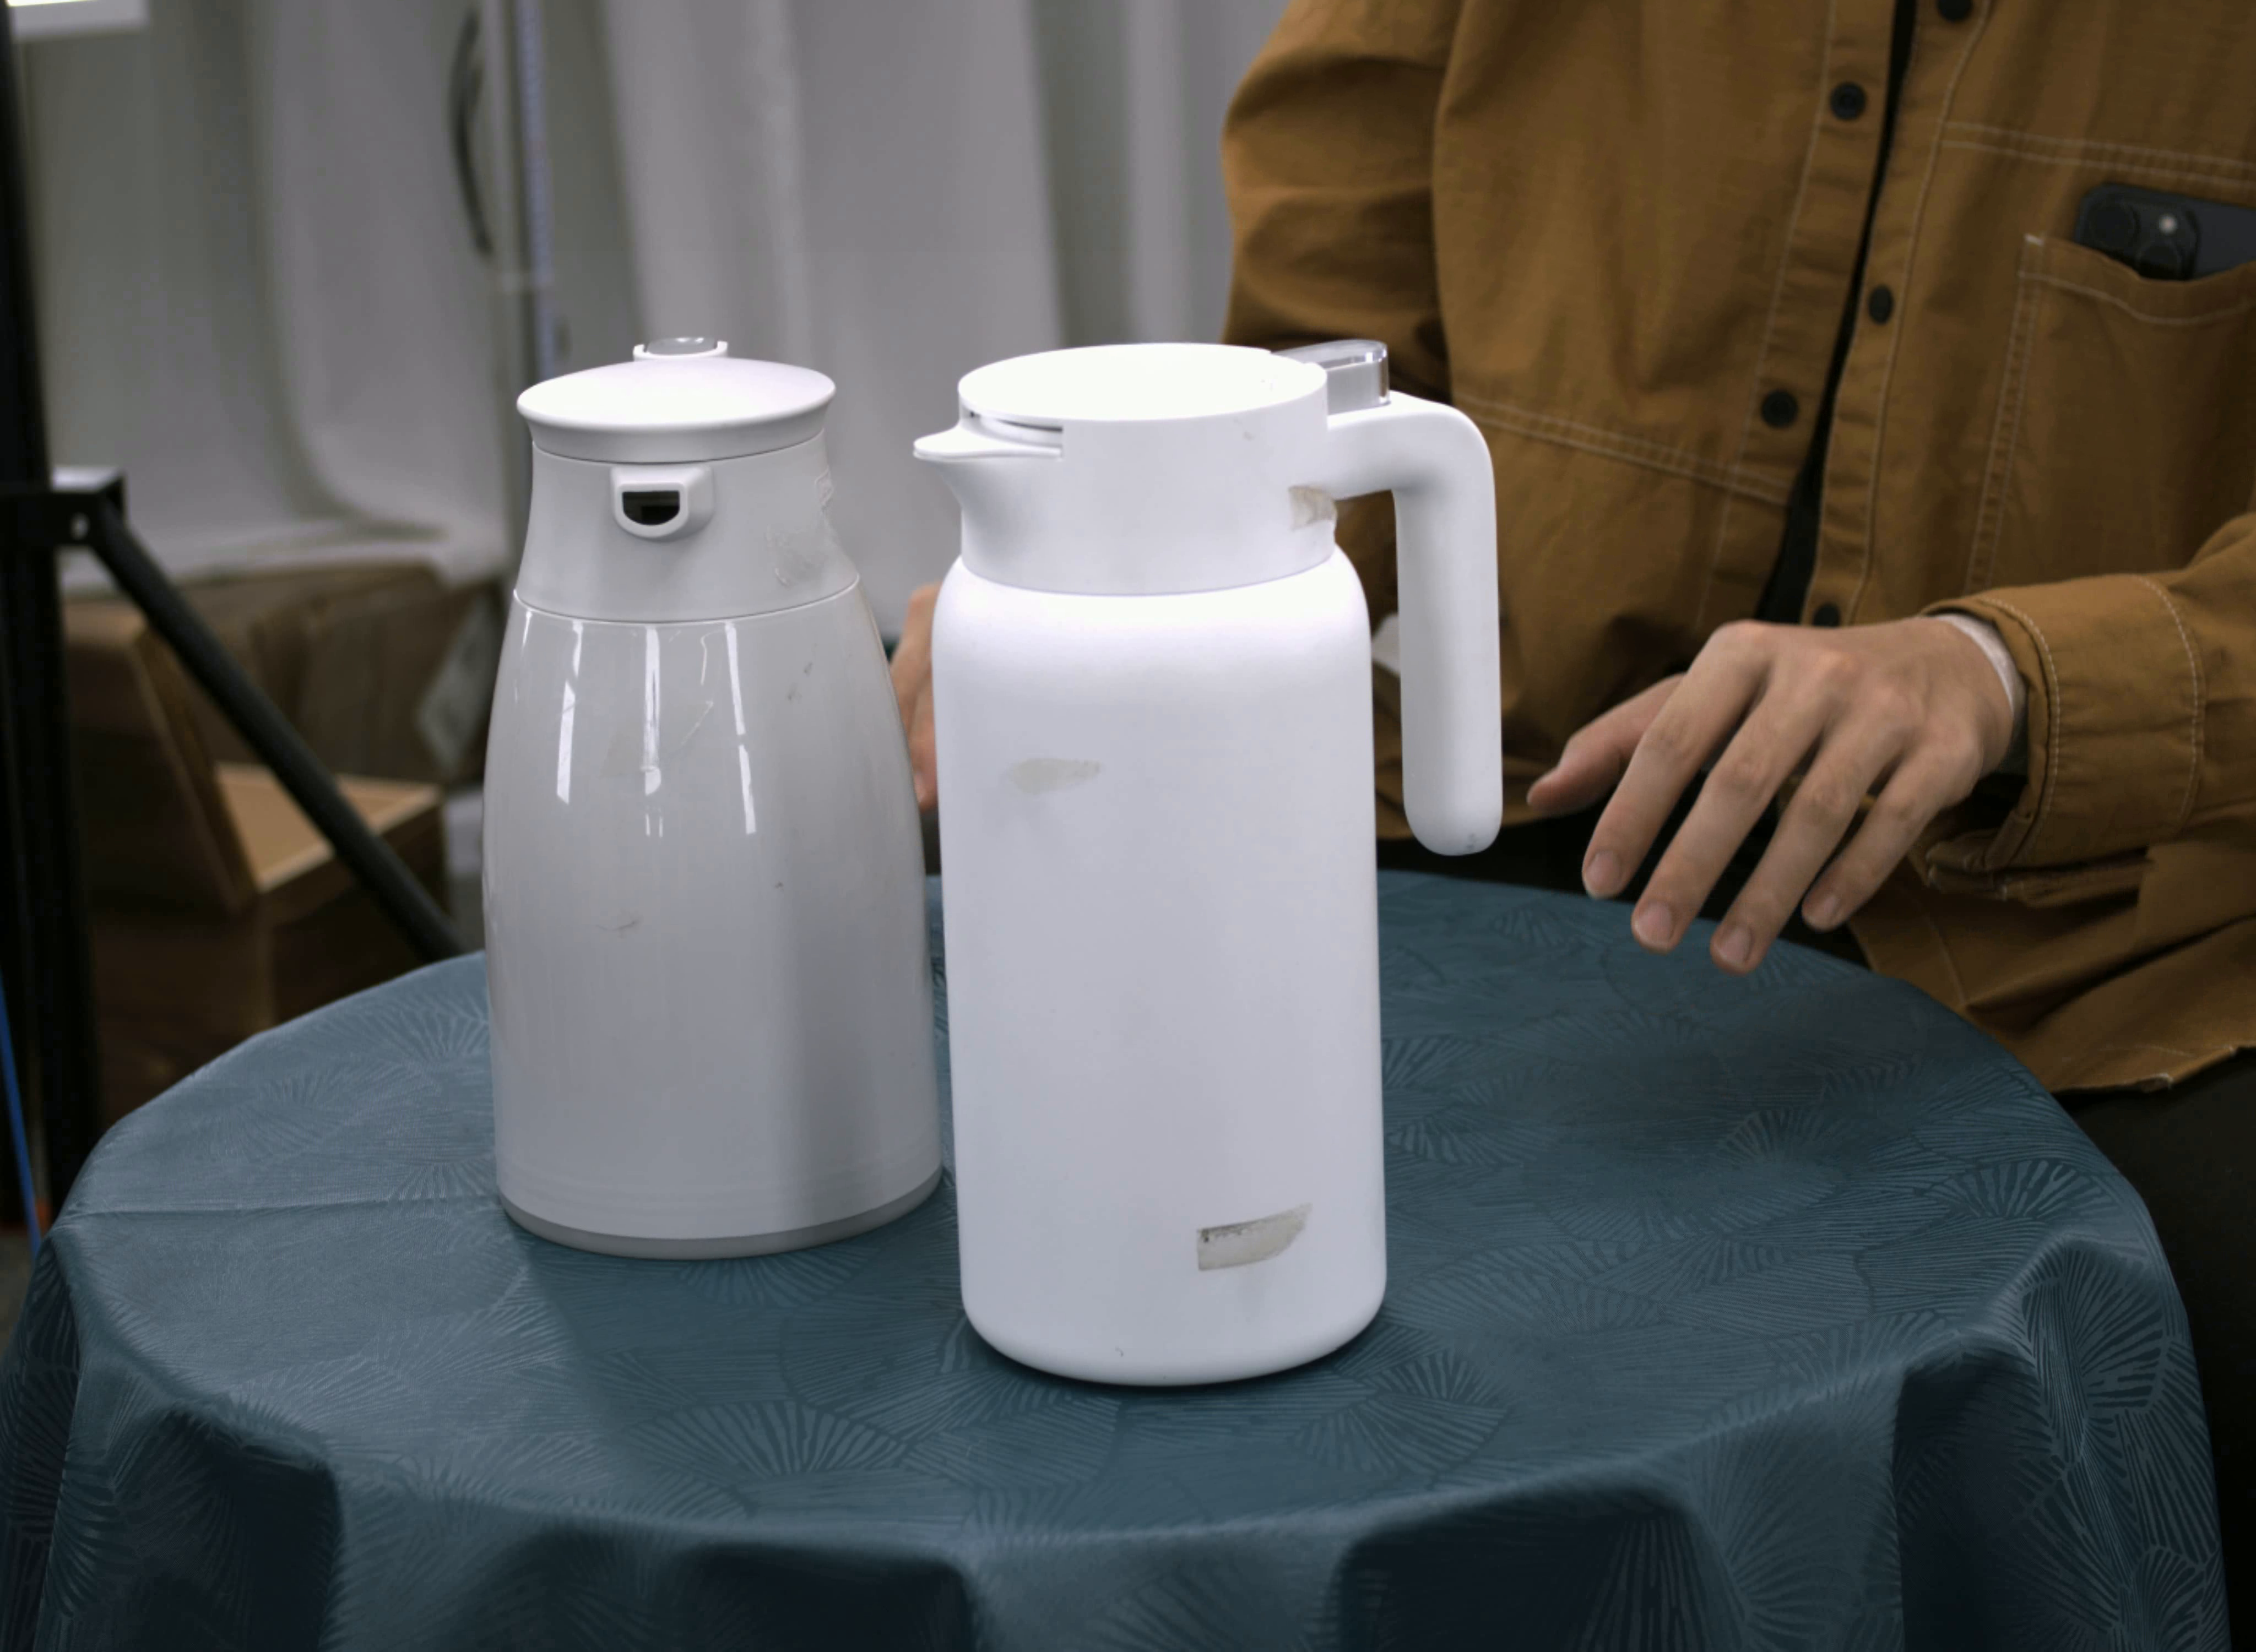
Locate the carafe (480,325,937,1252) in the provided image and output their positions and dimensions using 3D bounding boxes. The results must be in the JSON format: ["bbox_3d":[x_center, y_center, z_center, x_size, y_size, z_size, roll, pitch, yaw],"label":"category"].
[{"bbox_3d":[-0.125,-0.019,1.567,0.132,0.249,0.168,-1,14,4],"label":"carafe"}]

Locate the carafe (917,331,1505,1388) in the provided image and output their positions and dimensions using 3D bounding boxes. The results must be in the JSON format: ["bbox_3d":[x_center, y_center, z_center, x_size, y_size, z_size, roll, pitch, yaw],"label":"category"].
[{"bbox_3d":[0.023,0.005,1.427,0.169,0.269,0.126,-11,15,-29],"label":"carafe"}]
